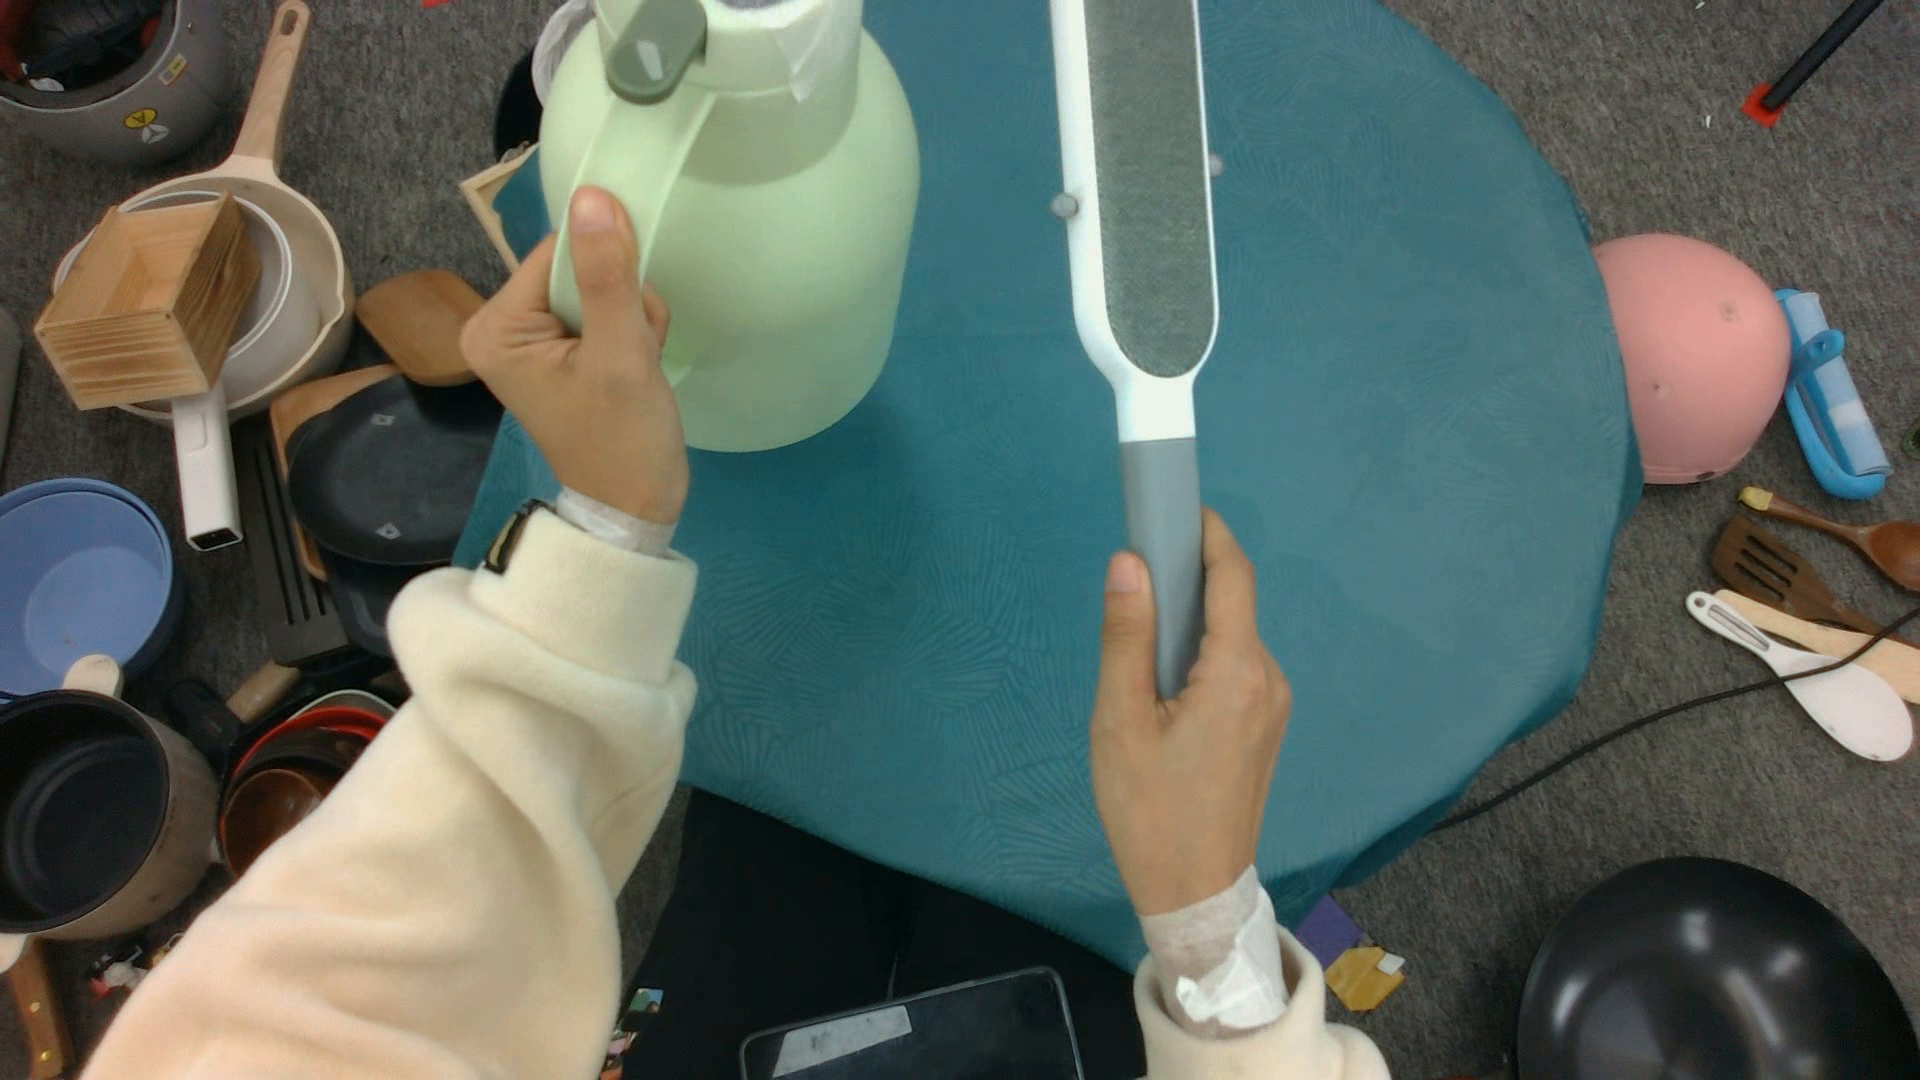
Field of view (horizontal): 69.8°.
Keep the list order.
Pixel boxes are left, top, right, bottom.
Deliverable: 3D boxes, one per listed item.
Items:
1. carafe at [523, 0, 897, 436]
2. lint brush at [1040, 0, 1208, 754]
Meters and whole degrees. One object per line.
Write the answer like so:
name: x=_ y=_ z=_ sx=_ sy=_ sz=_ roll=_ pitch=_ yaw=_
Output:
carafe: x=-0.100 y=-0.133 z=0.526 sx=0.144 sy=0.256 sz=0.187 roll=24 pitch=73 yaw=-3
lint brush: x=0.058 y=-0.080 z=0.459 sx=0.060 sy=0.021 sz=0.308 roll=-8 pitch=95 yaw=-38
